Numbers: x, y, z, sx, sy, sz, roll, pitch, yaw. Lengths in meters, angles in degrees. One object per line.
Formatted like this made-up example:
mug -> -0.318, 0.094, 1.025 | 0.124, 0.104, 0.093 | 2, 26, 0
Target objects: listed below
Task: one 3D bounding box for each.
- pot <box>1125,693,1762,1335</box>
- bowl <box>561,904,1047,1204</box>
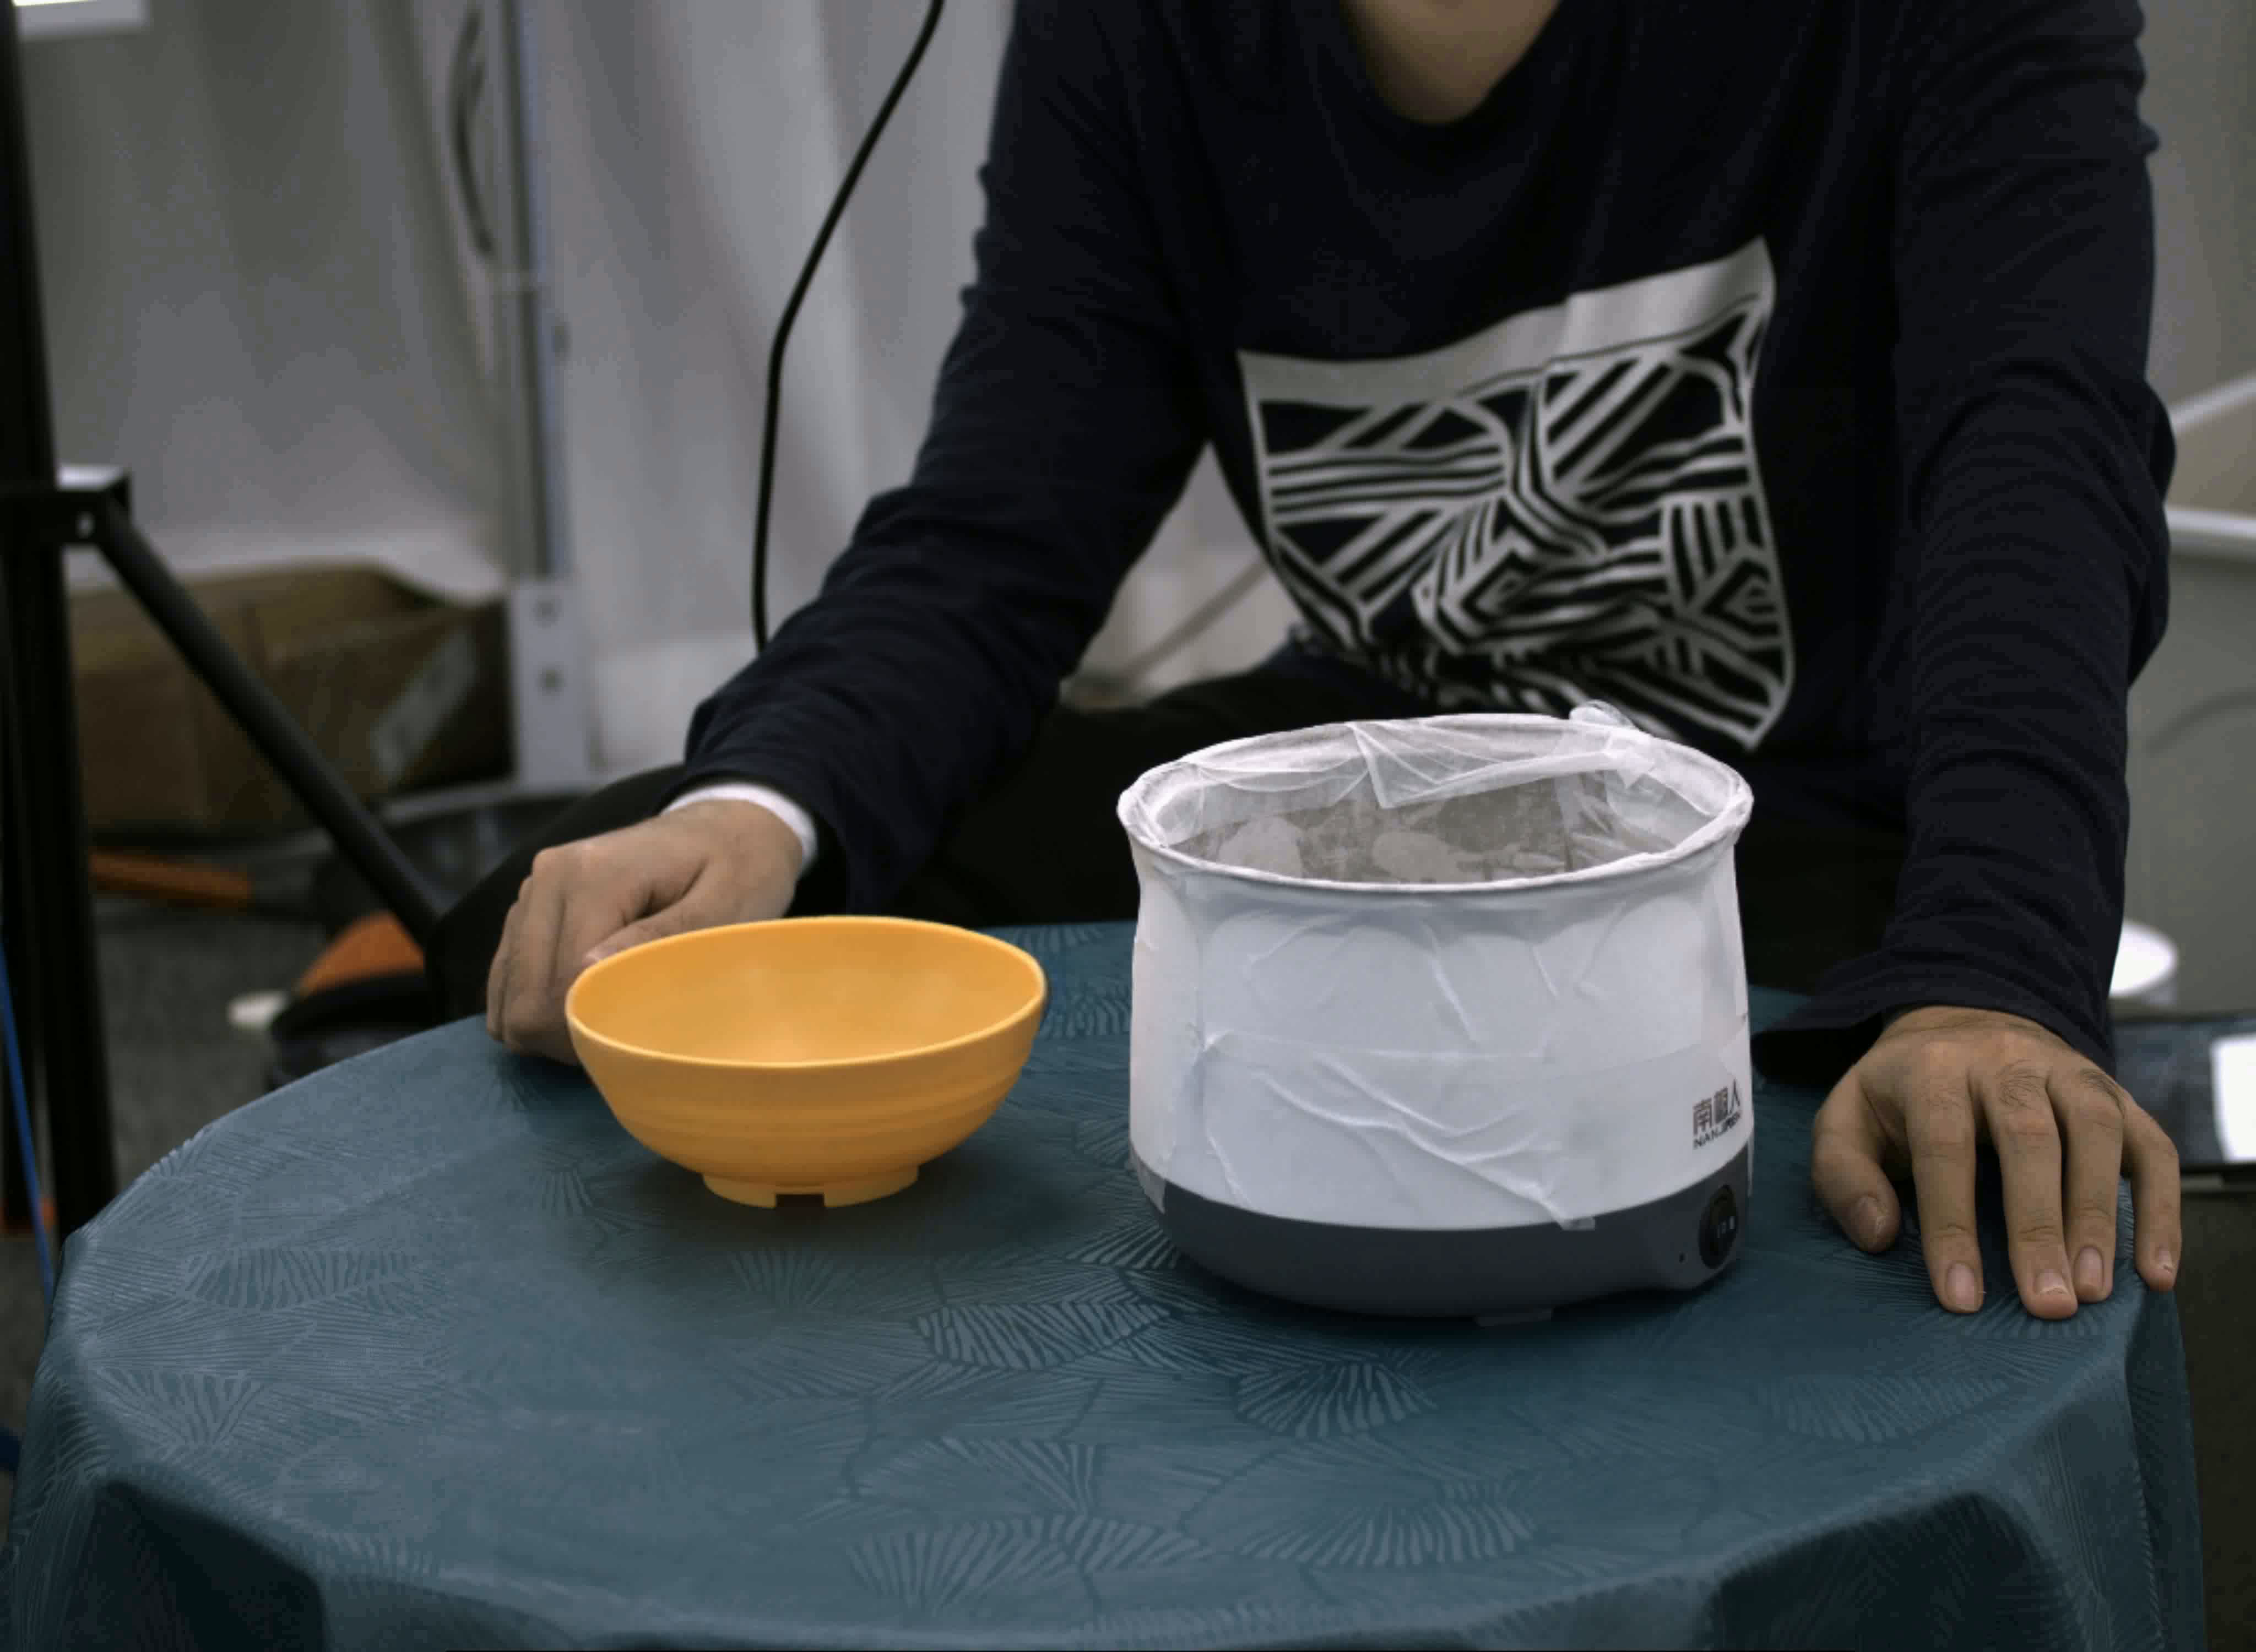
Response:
pot -> 0.101, 0.046, 1.513 | 0.182, 0.136, 0.229 | 10, 20, 29
bowl -> -0.095, 0.074, 1.585 | 0.144, 0.060, 0.146 | -2, 17, -1
